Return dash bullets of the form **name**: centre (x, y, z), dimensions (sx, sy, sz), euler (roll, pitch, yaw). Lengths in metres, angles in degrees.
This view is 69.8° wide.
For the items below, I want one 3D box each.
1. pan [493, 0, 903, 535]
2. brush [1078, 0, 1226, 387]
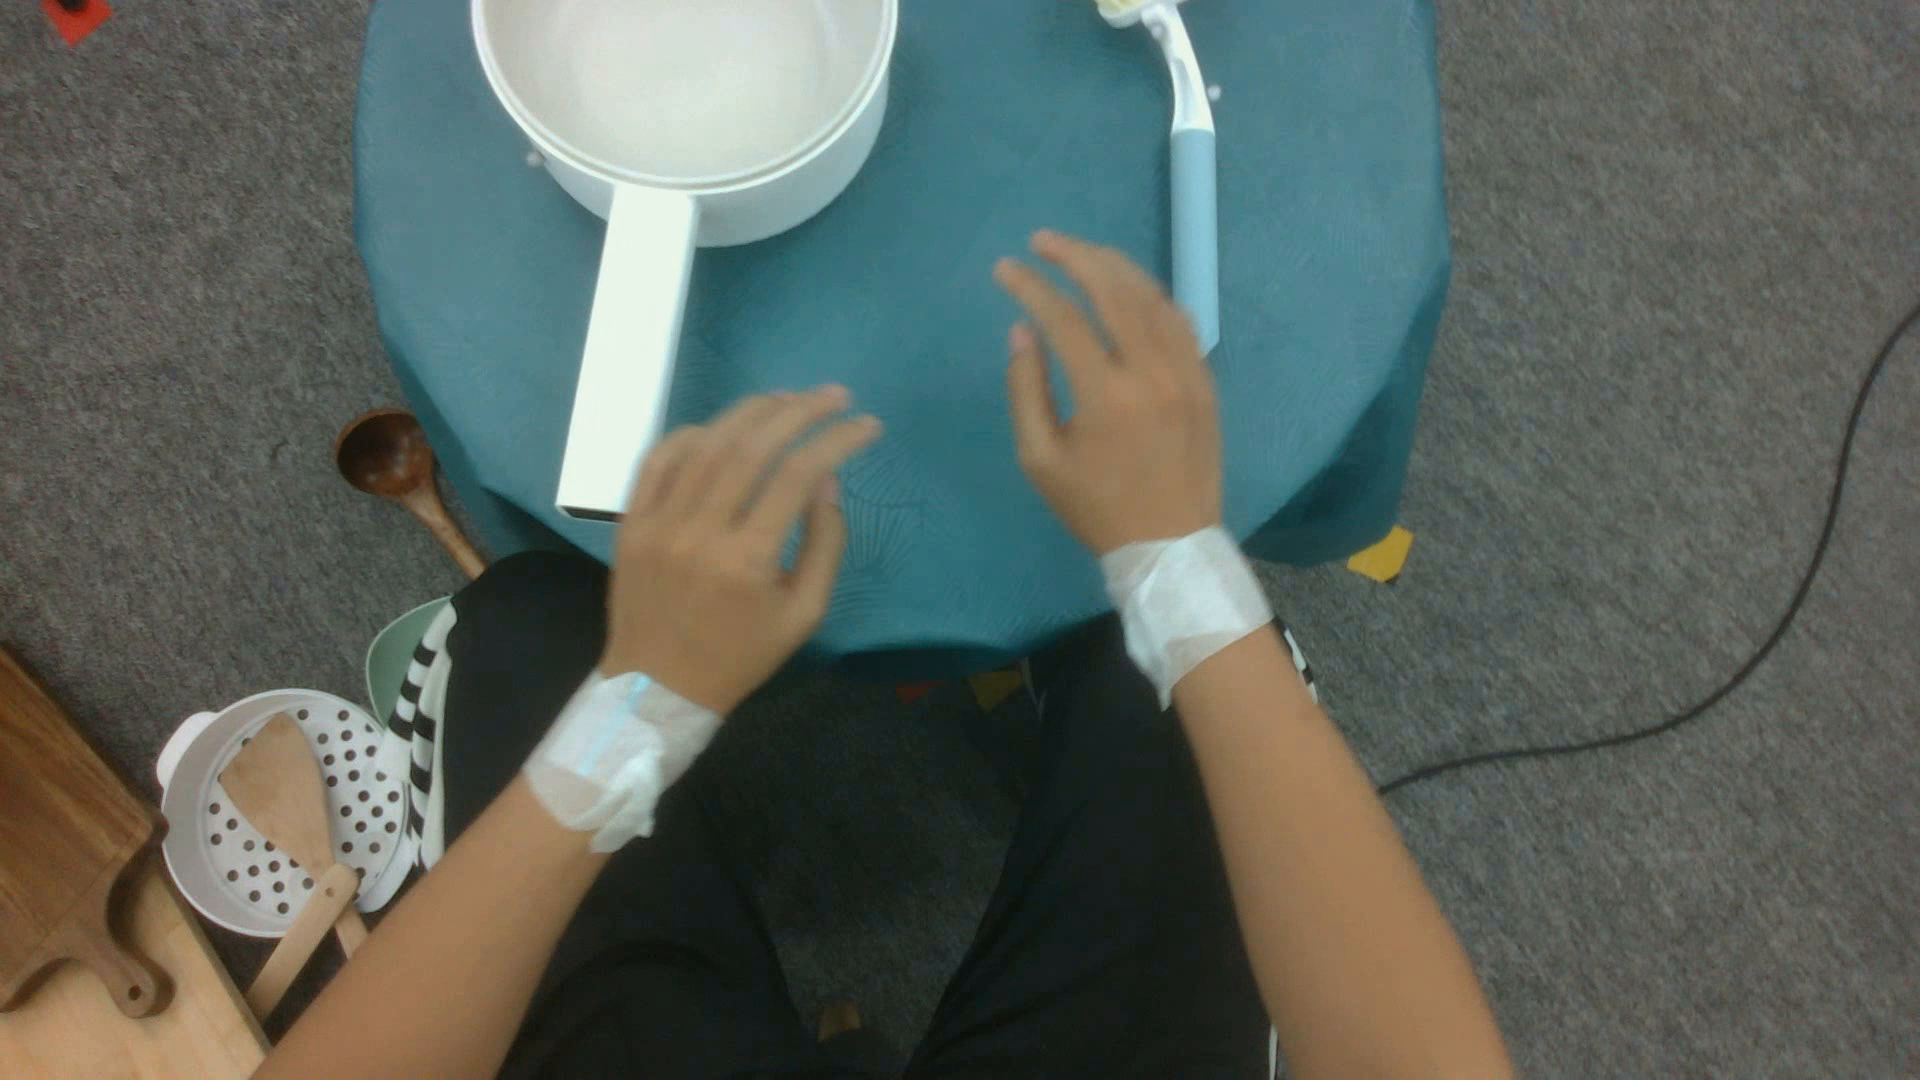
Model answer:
- **pan**: centre (-0.139, -0.173, 0.707), dimensions (0.201, 0.102, 0.355), euler (7, 79, -2)
- **brush**: centre (0.108, -0.245, 0.743), dimensions (0.084, 0.083, 0.326), euler (3, 77, -8)
